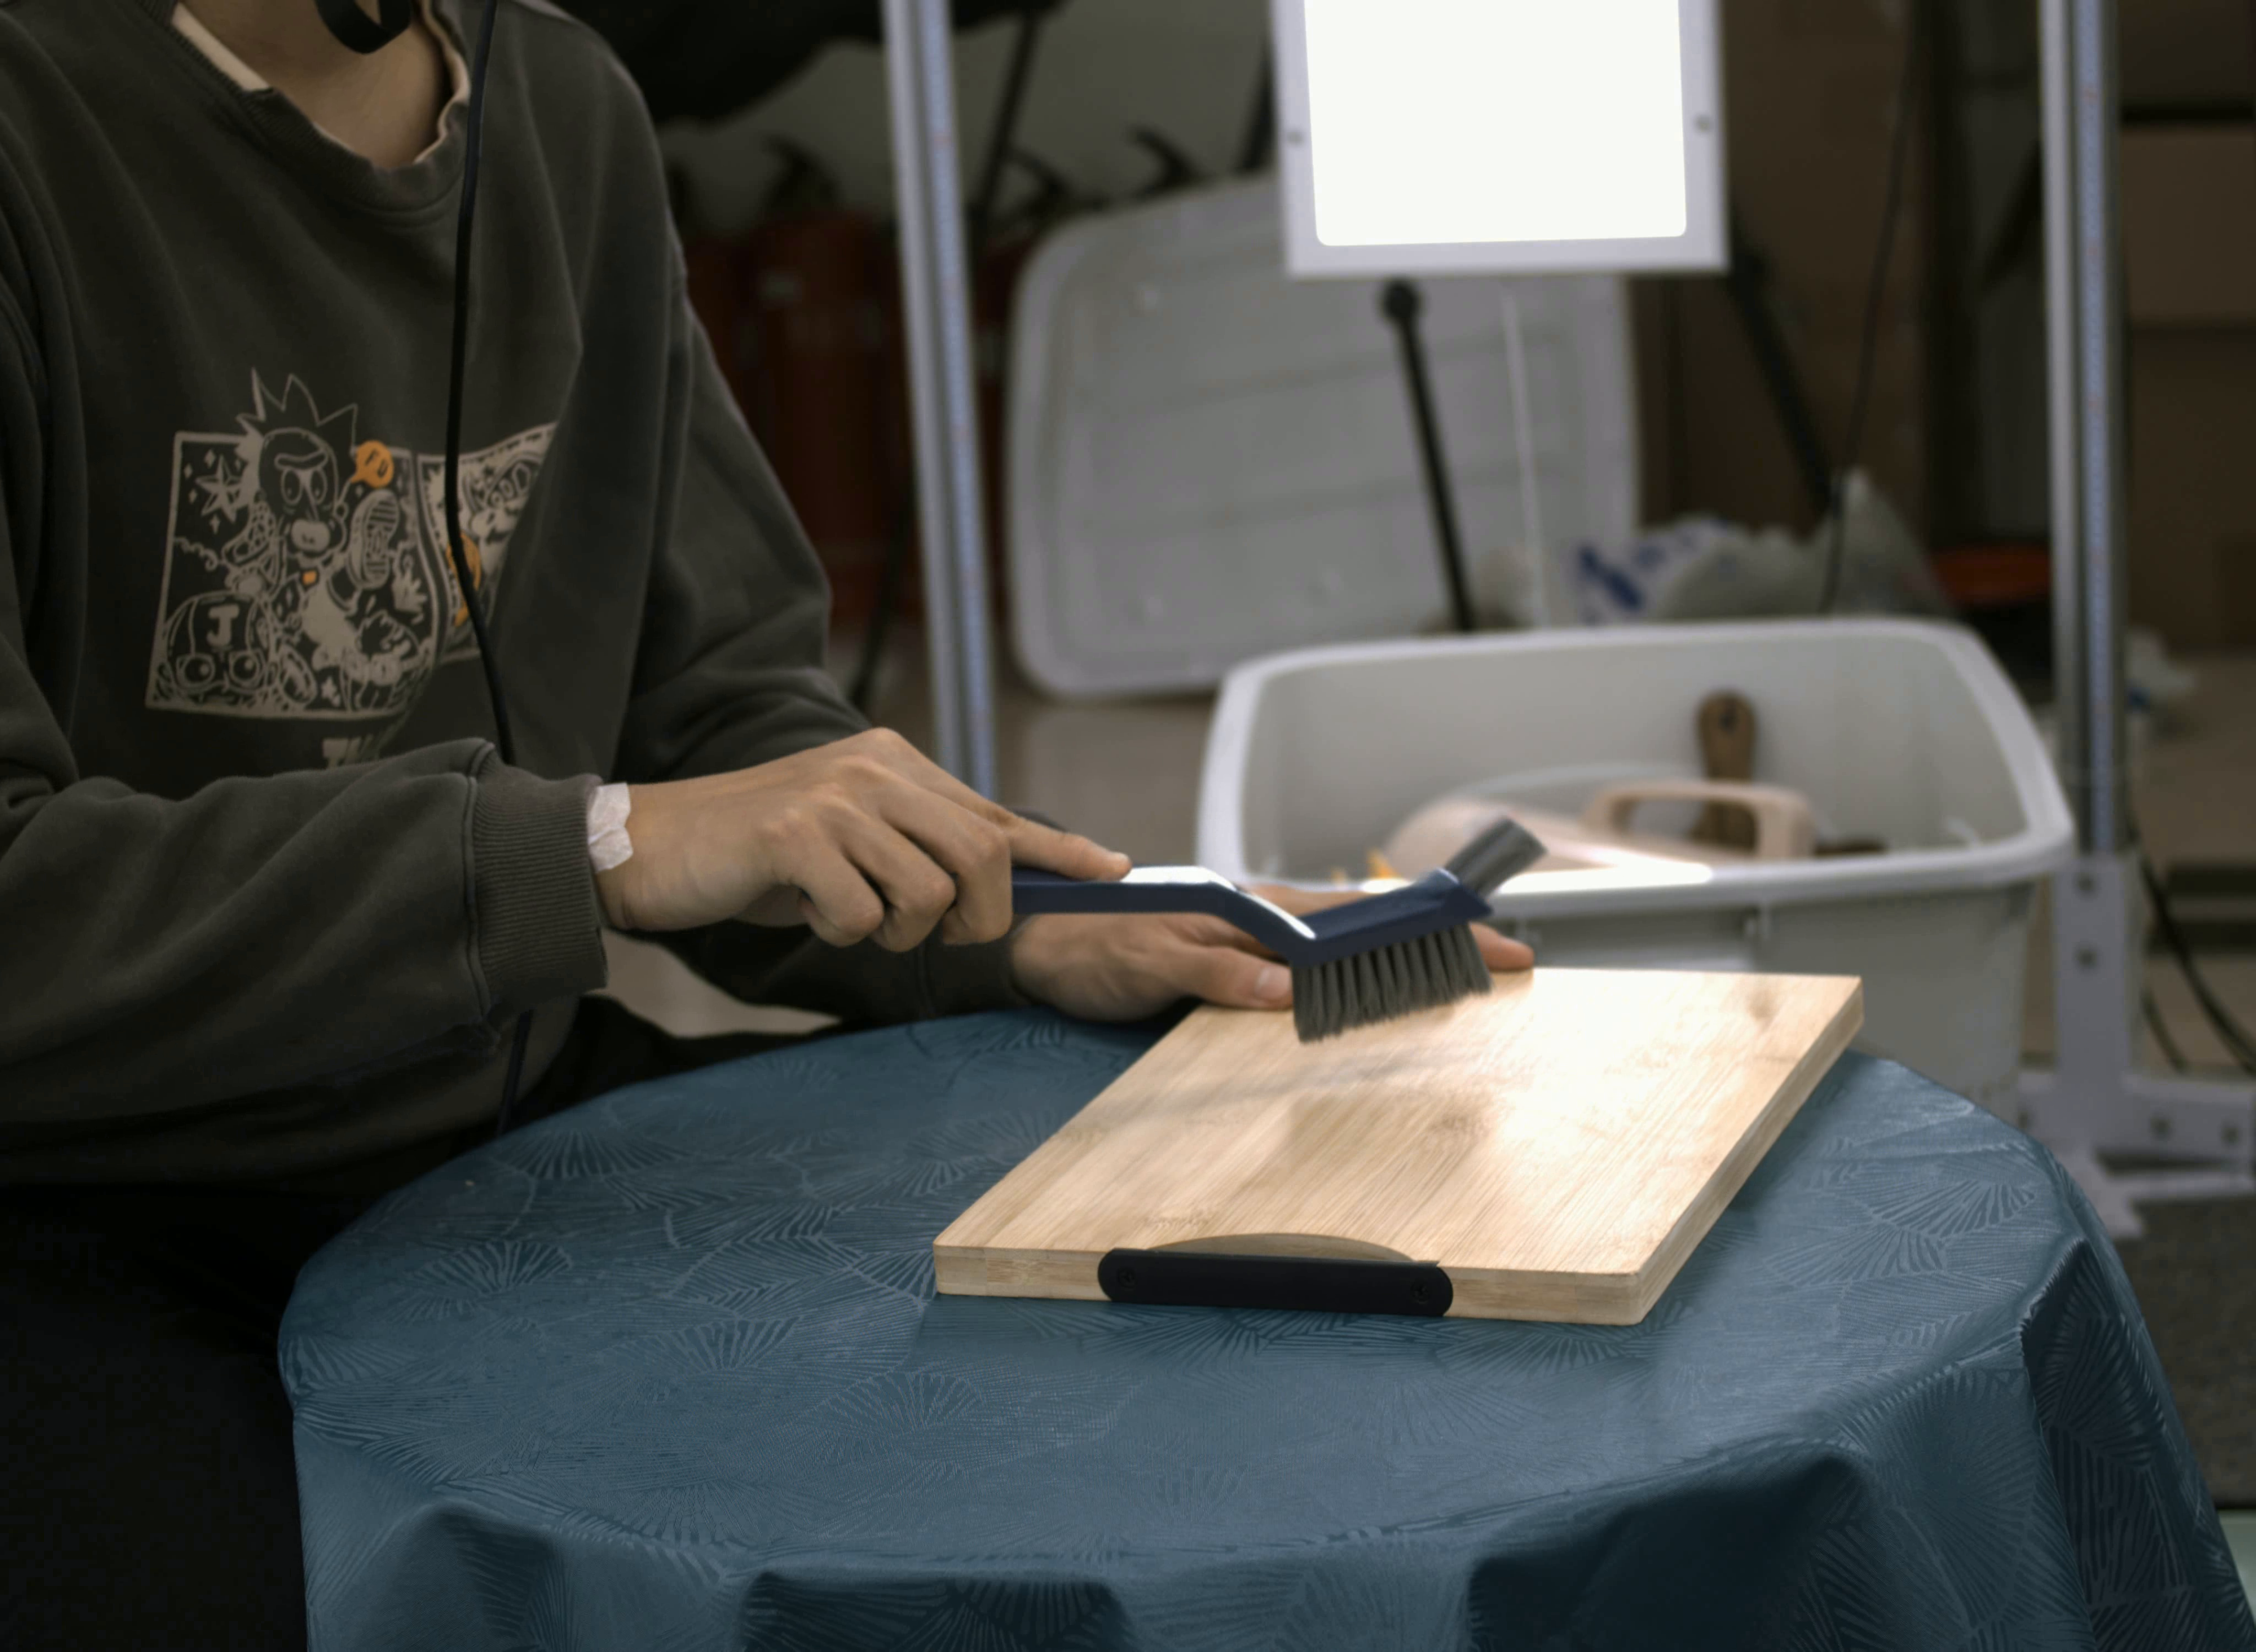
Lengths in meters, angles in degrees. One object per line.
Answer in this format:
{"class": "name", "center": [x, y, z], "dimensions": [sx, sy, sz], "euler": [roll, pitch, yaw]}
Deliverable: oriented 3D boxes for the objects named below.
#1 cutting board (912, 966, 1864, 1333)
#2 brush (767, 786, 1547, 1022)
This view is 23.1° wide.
{"class": "cutting board", "center": [0.101, 0.107, 1.907], "dimensions": [0.254, 0.023, 0.342], "euler": [-1, 14, 20]}
{"class": "brush", "center": [0.011, 0.015, 1.918], "dimensions": [0.268, 0.096, 0.034], "euler": [8, 19, -22]}
